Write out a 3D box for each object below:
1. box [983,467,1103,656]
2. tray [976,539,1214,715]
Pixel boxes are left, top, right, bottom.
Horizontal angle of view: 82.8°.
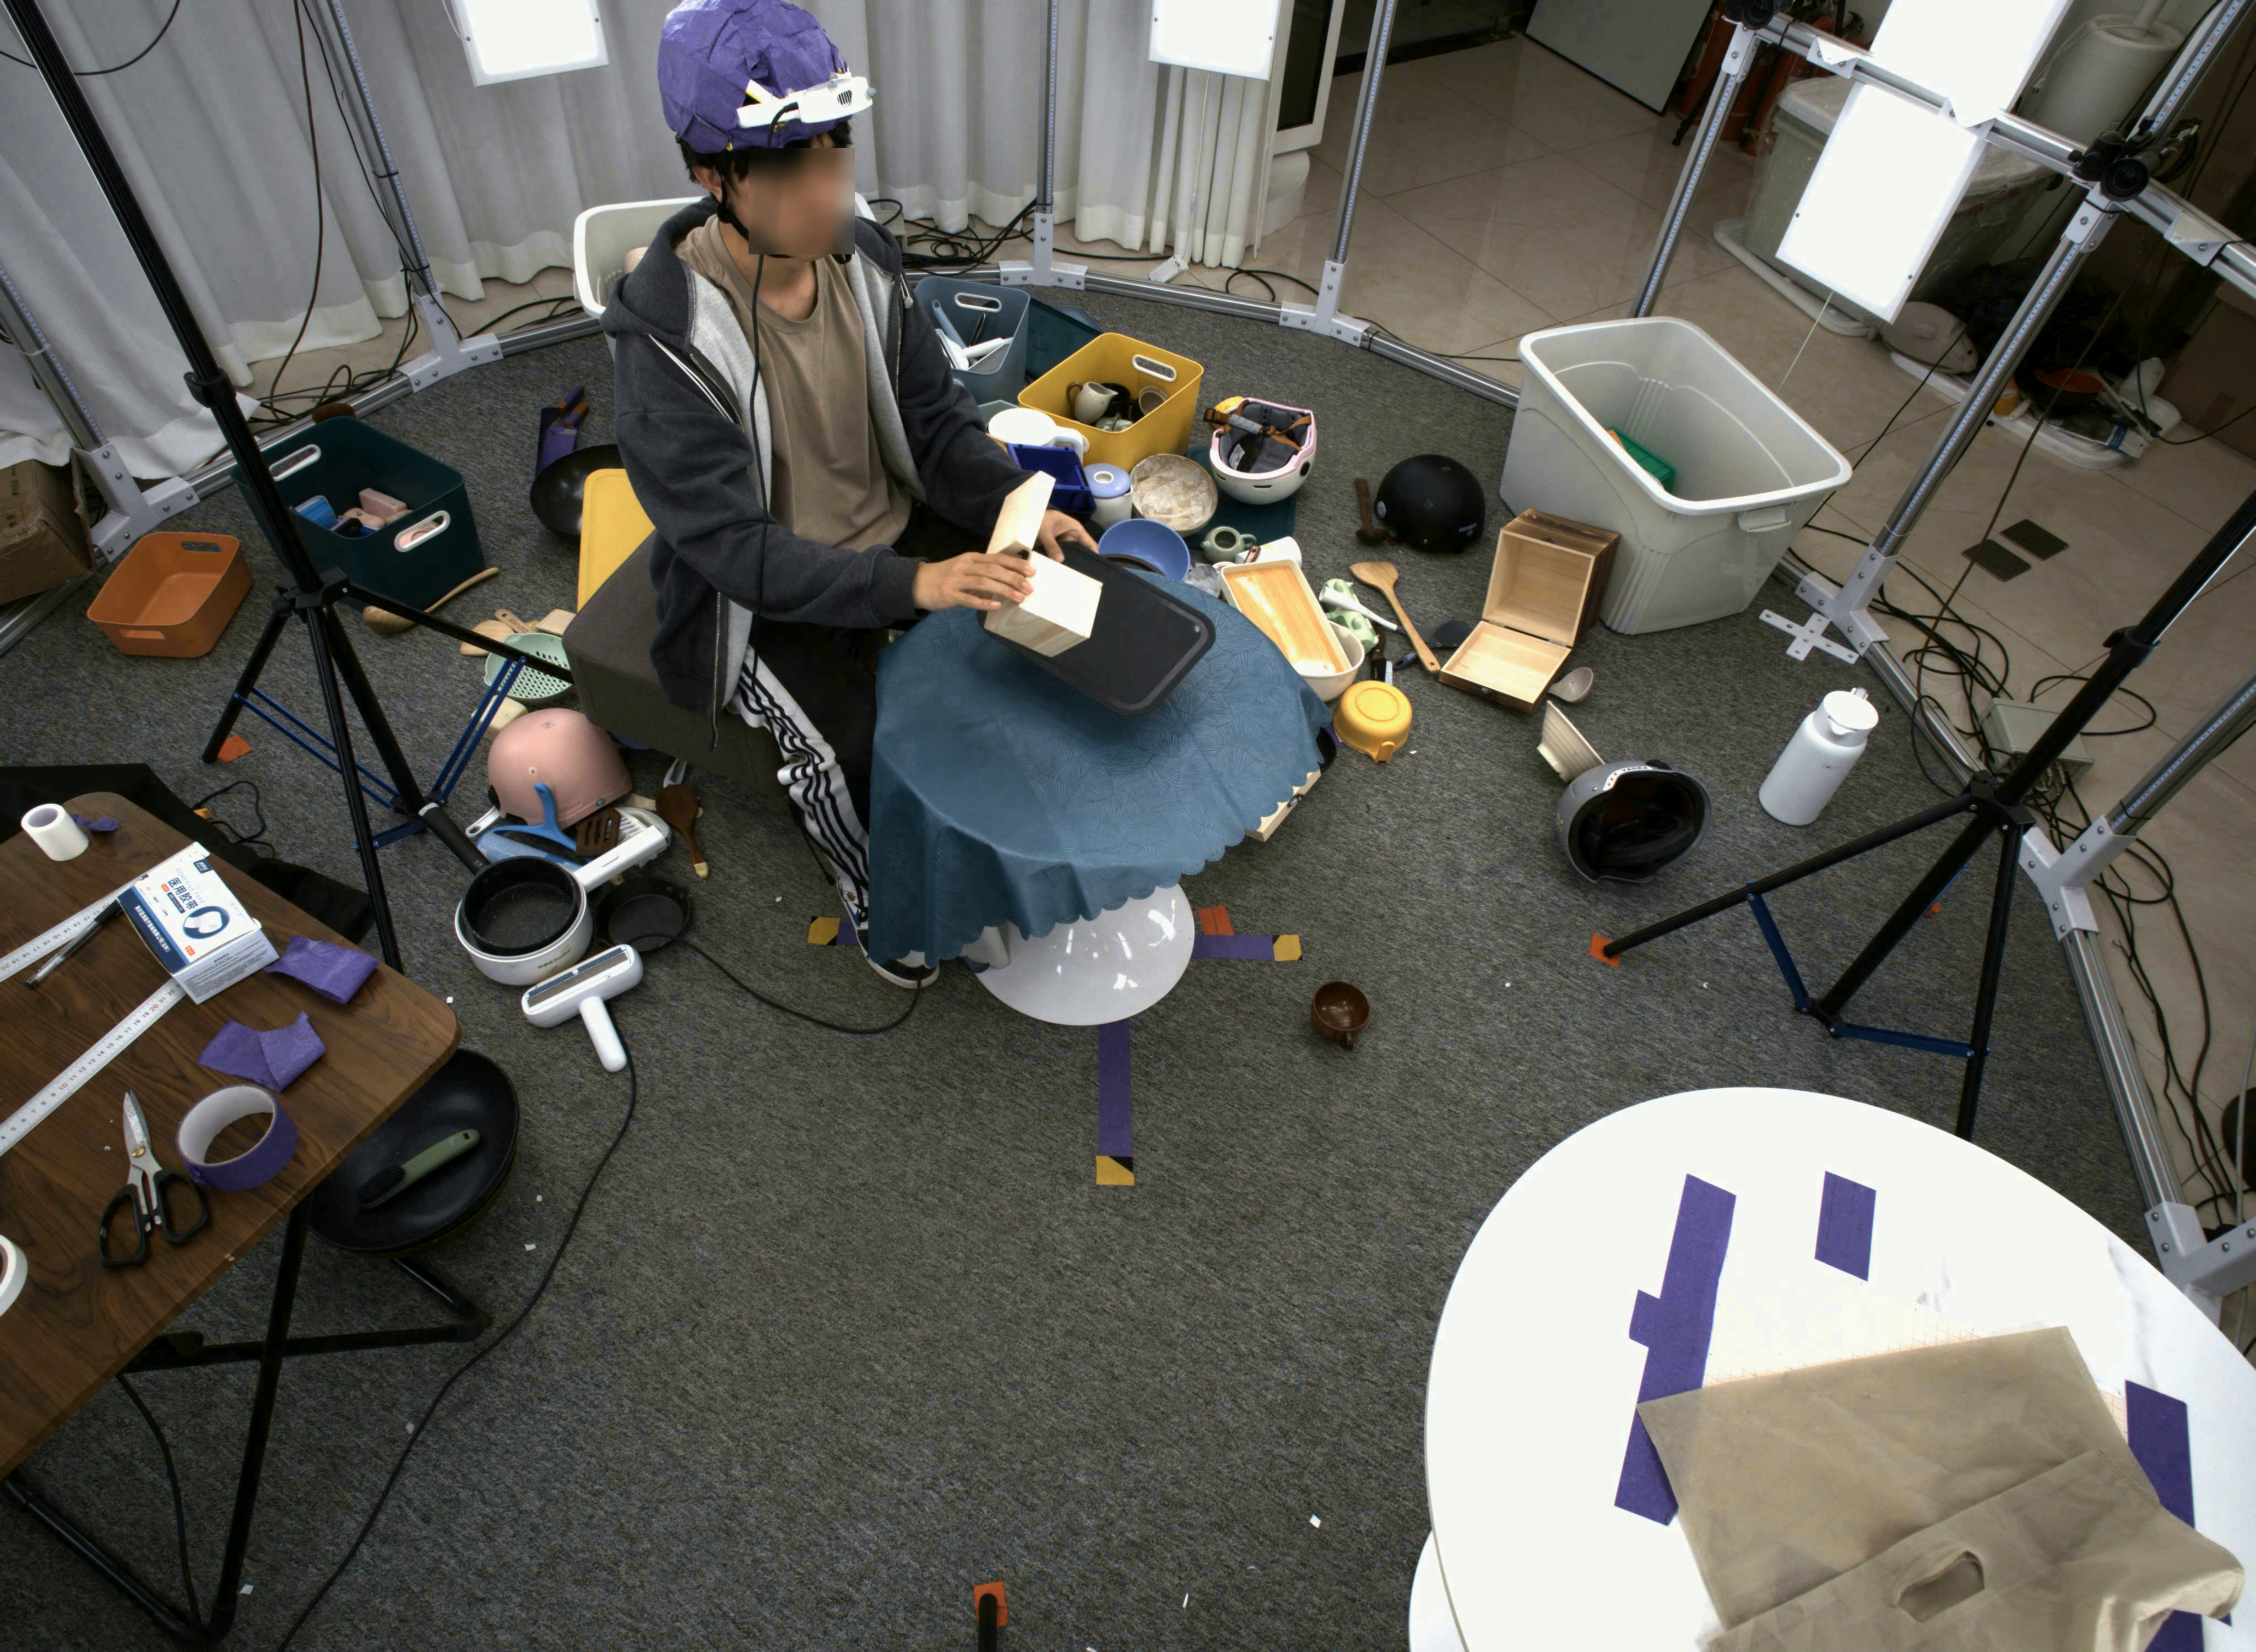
[{"bbox_3d":[-0.101,-0.329,1.614,0.132,0.102,0.187,21,72,-26],"label":"box"},{"bbox_3d":[-0.054,-0.288,1.804,0.329,0.009,0.213,33,64,20],"label":"tray"}]
